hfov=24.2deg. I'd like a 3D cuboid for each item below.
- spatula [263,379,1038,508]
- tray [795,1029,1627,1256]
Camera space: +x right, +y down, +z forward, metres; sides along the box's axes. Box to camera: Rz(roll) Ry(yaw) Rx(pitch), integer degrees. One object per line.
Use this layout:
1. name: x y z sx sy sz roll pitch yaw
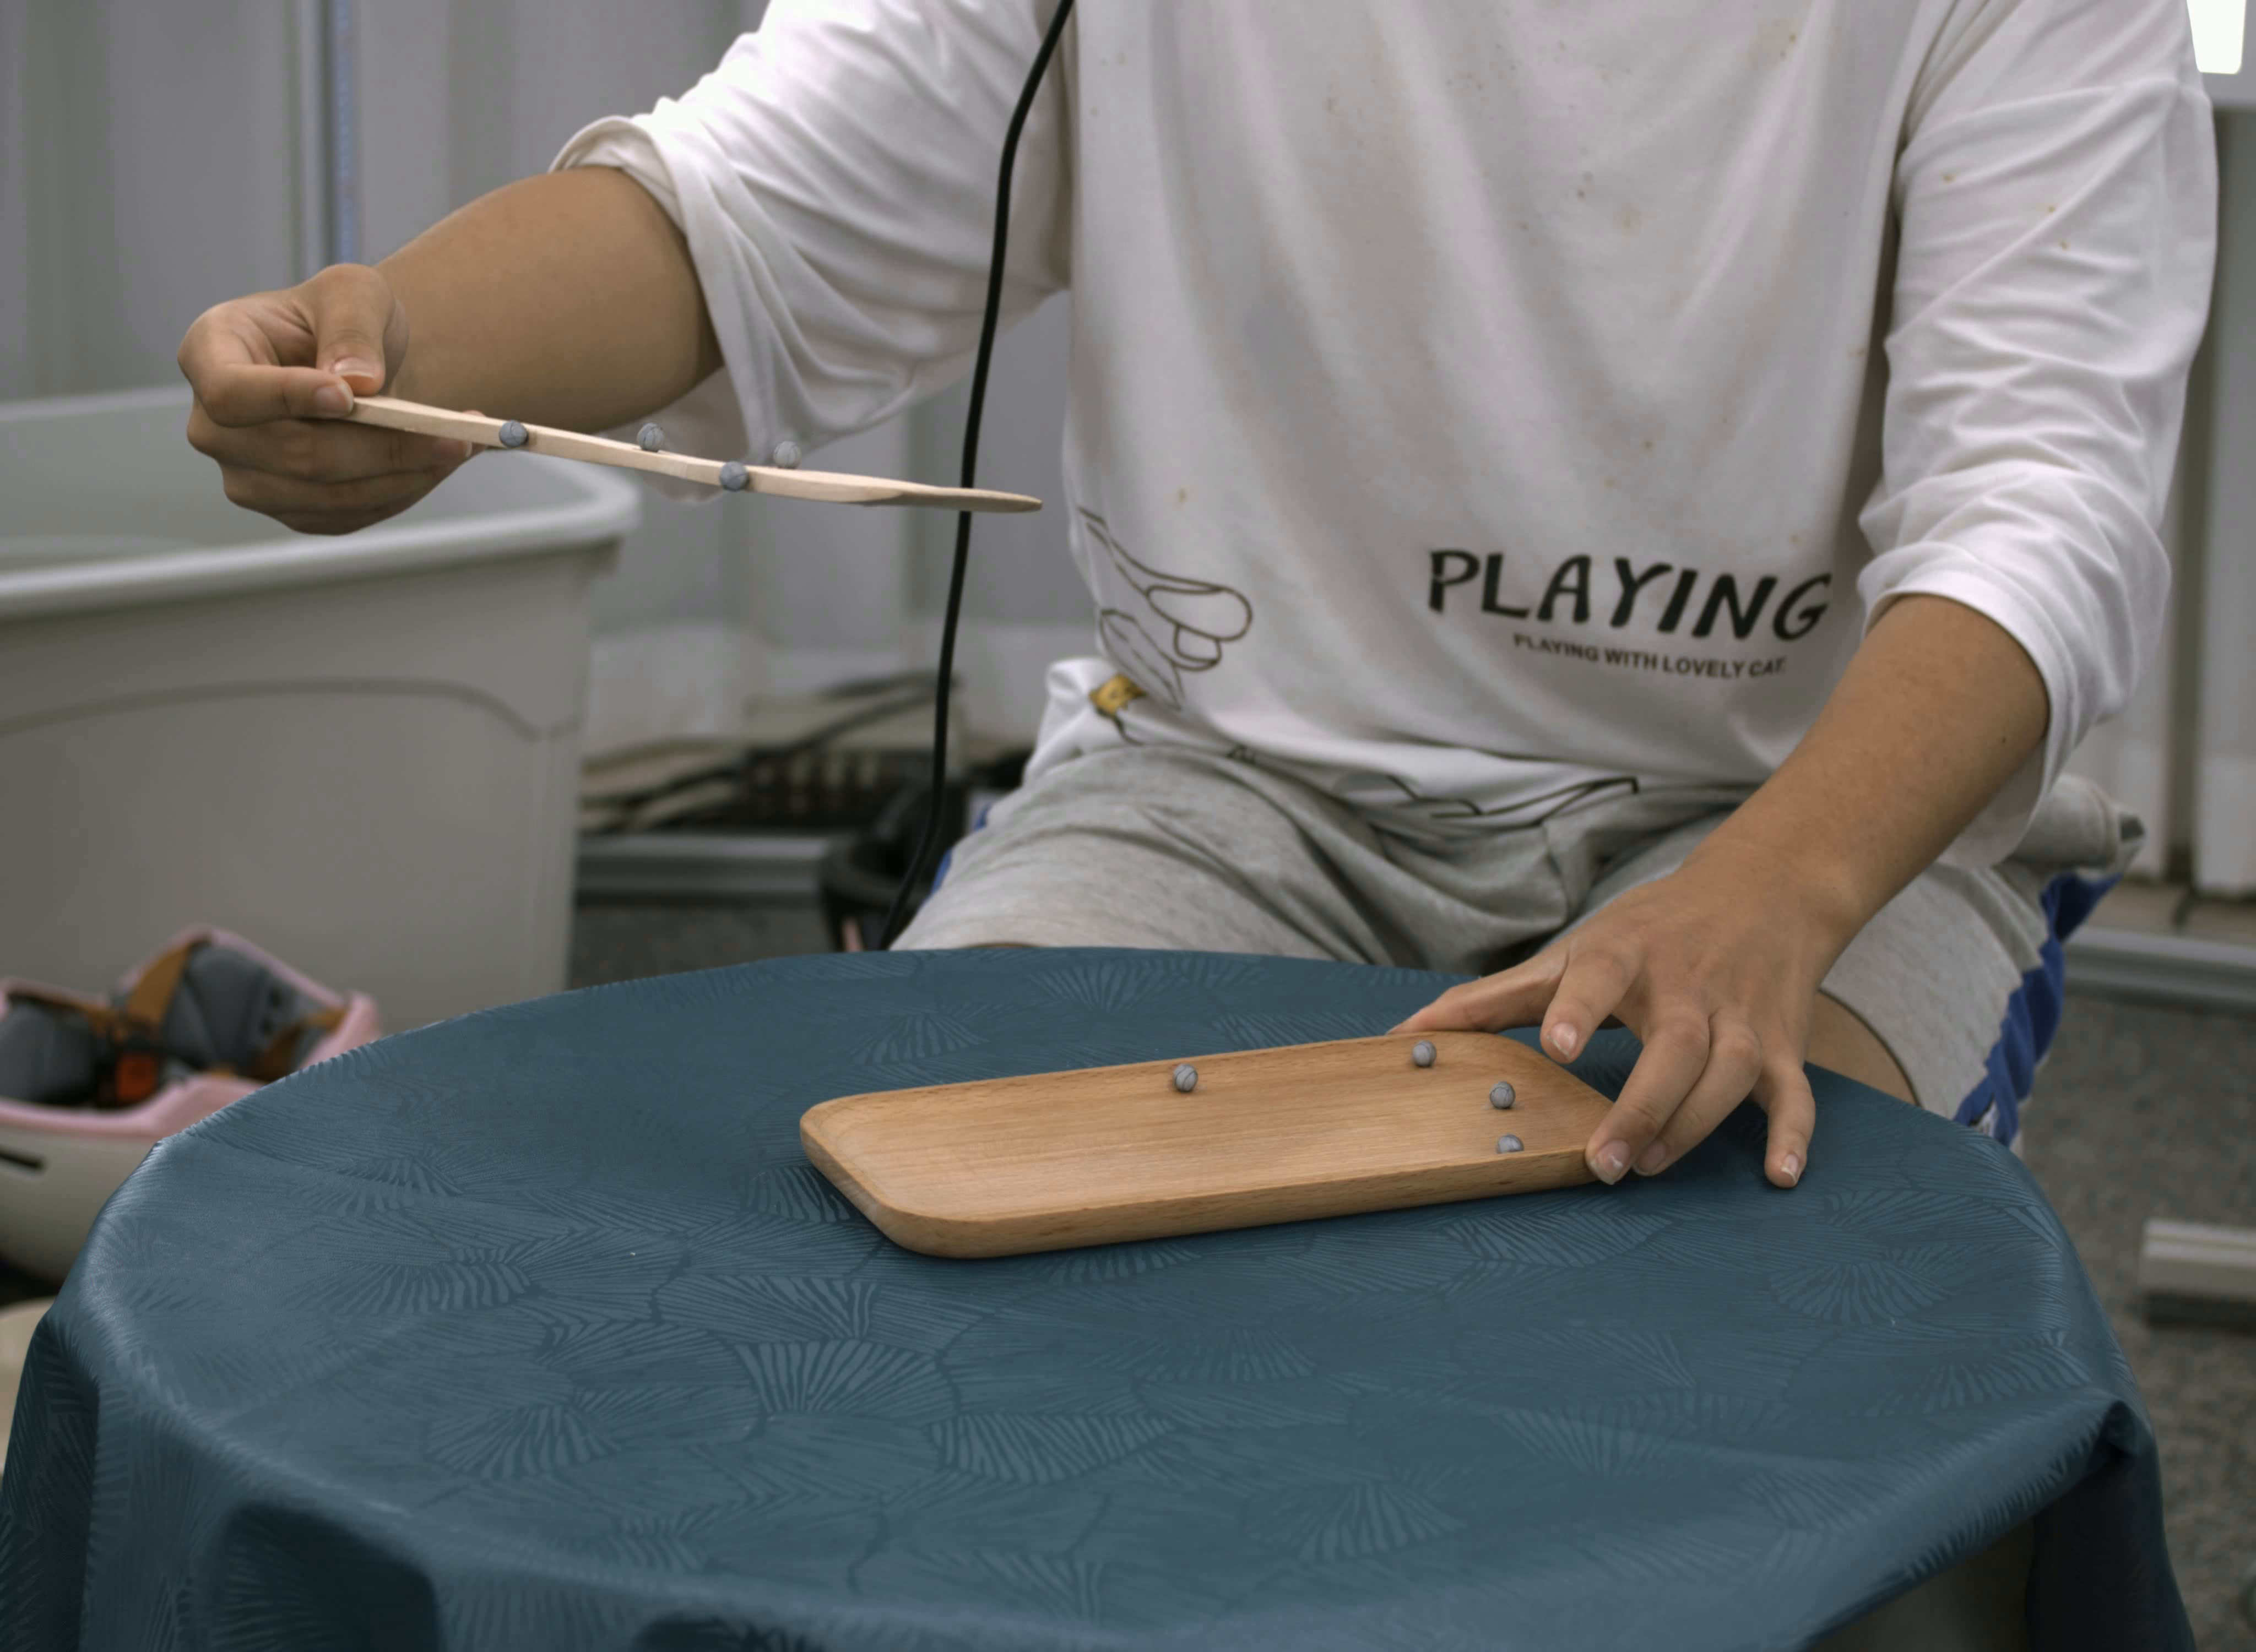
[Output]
1. spatula: -0.159 -0.117 1.608 0.289 0.011 0.073 12 8 36
2. tray: 0.026 0.098 1.655 0.251 0.023 0.129 -6 14 -19
